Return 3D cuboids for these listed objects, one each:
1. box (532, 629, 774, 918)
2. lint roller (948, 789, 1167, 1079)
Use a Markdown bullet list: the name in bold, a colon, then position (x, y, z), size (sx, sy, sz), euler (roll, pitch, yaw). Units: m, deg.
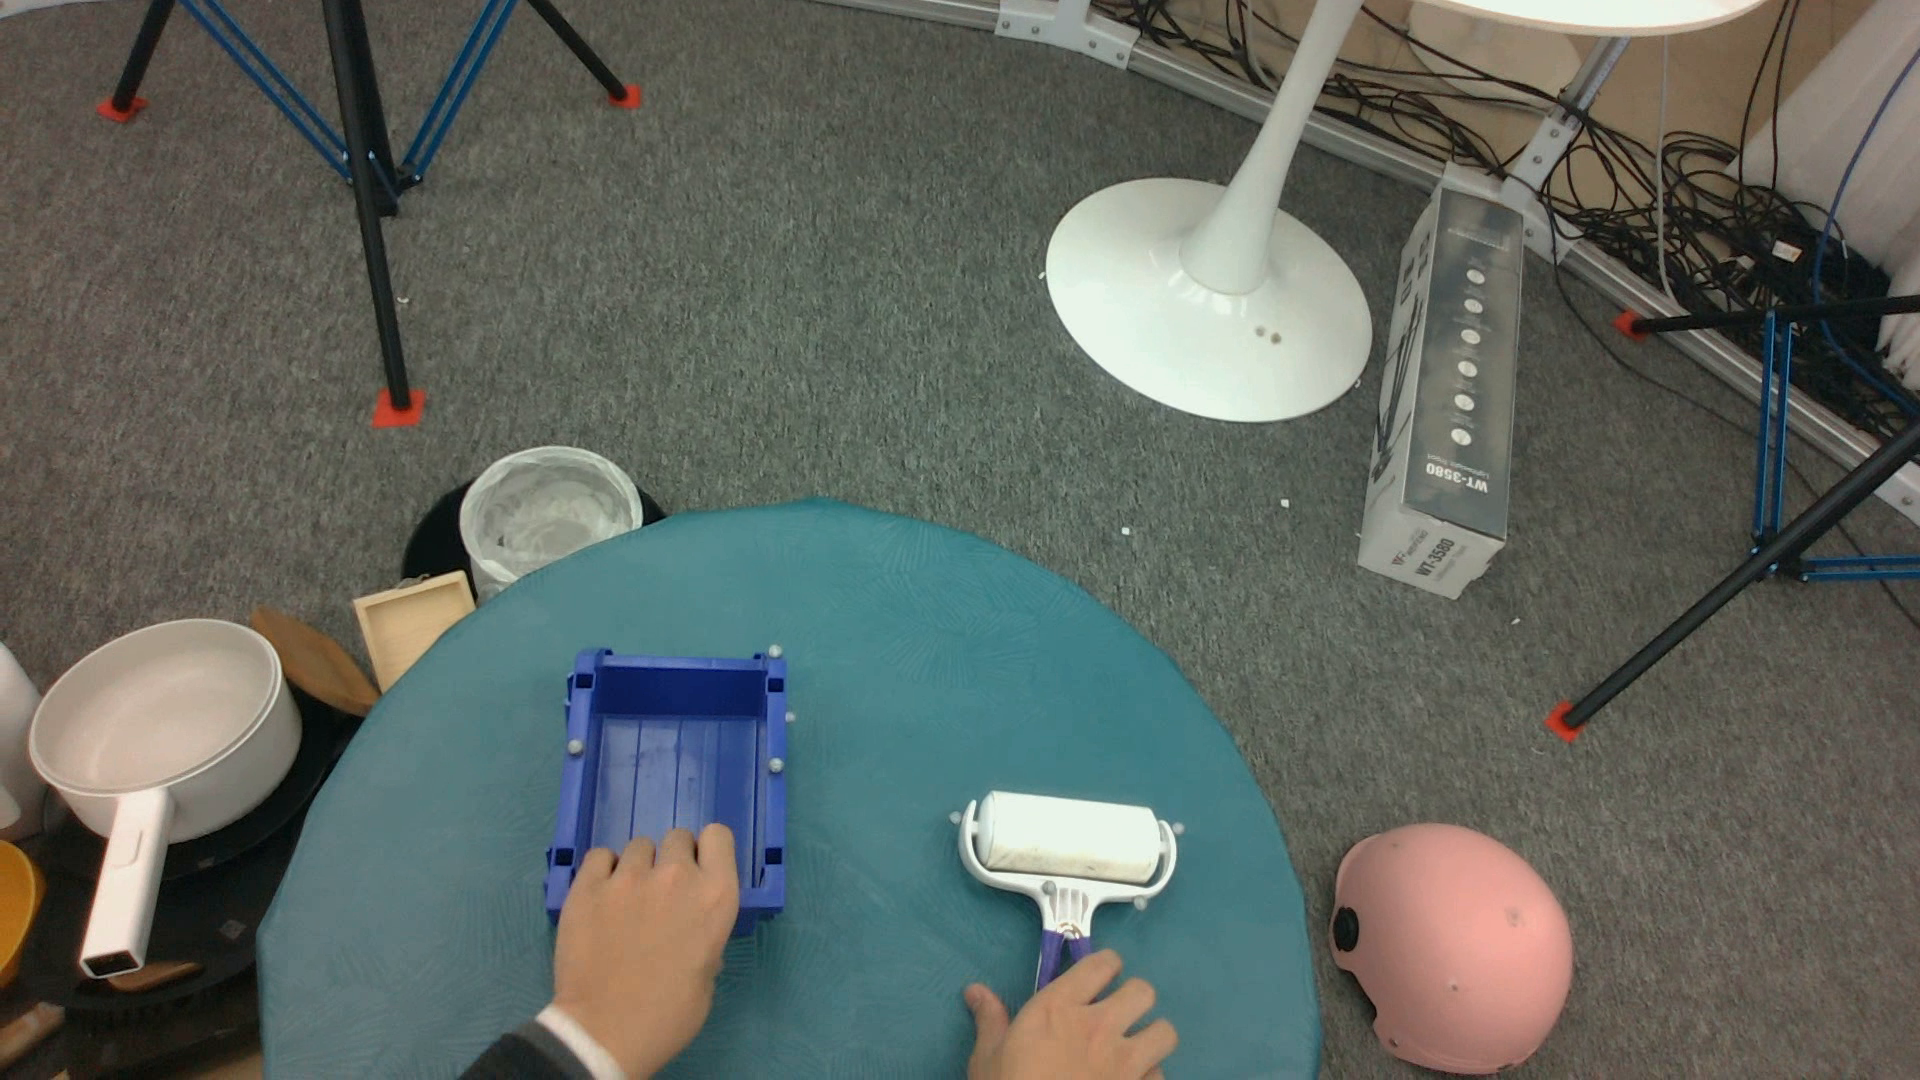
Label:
- **box**: position (-0.173, 0.129, 0.794), size (0.124, 0.081, 0.180), euler (3, 57, -11)
- **lint roller**: position (0.057, 0.232, 0.796), size (0.133, 0.050, 0.181), euler (9, 51, -8)
